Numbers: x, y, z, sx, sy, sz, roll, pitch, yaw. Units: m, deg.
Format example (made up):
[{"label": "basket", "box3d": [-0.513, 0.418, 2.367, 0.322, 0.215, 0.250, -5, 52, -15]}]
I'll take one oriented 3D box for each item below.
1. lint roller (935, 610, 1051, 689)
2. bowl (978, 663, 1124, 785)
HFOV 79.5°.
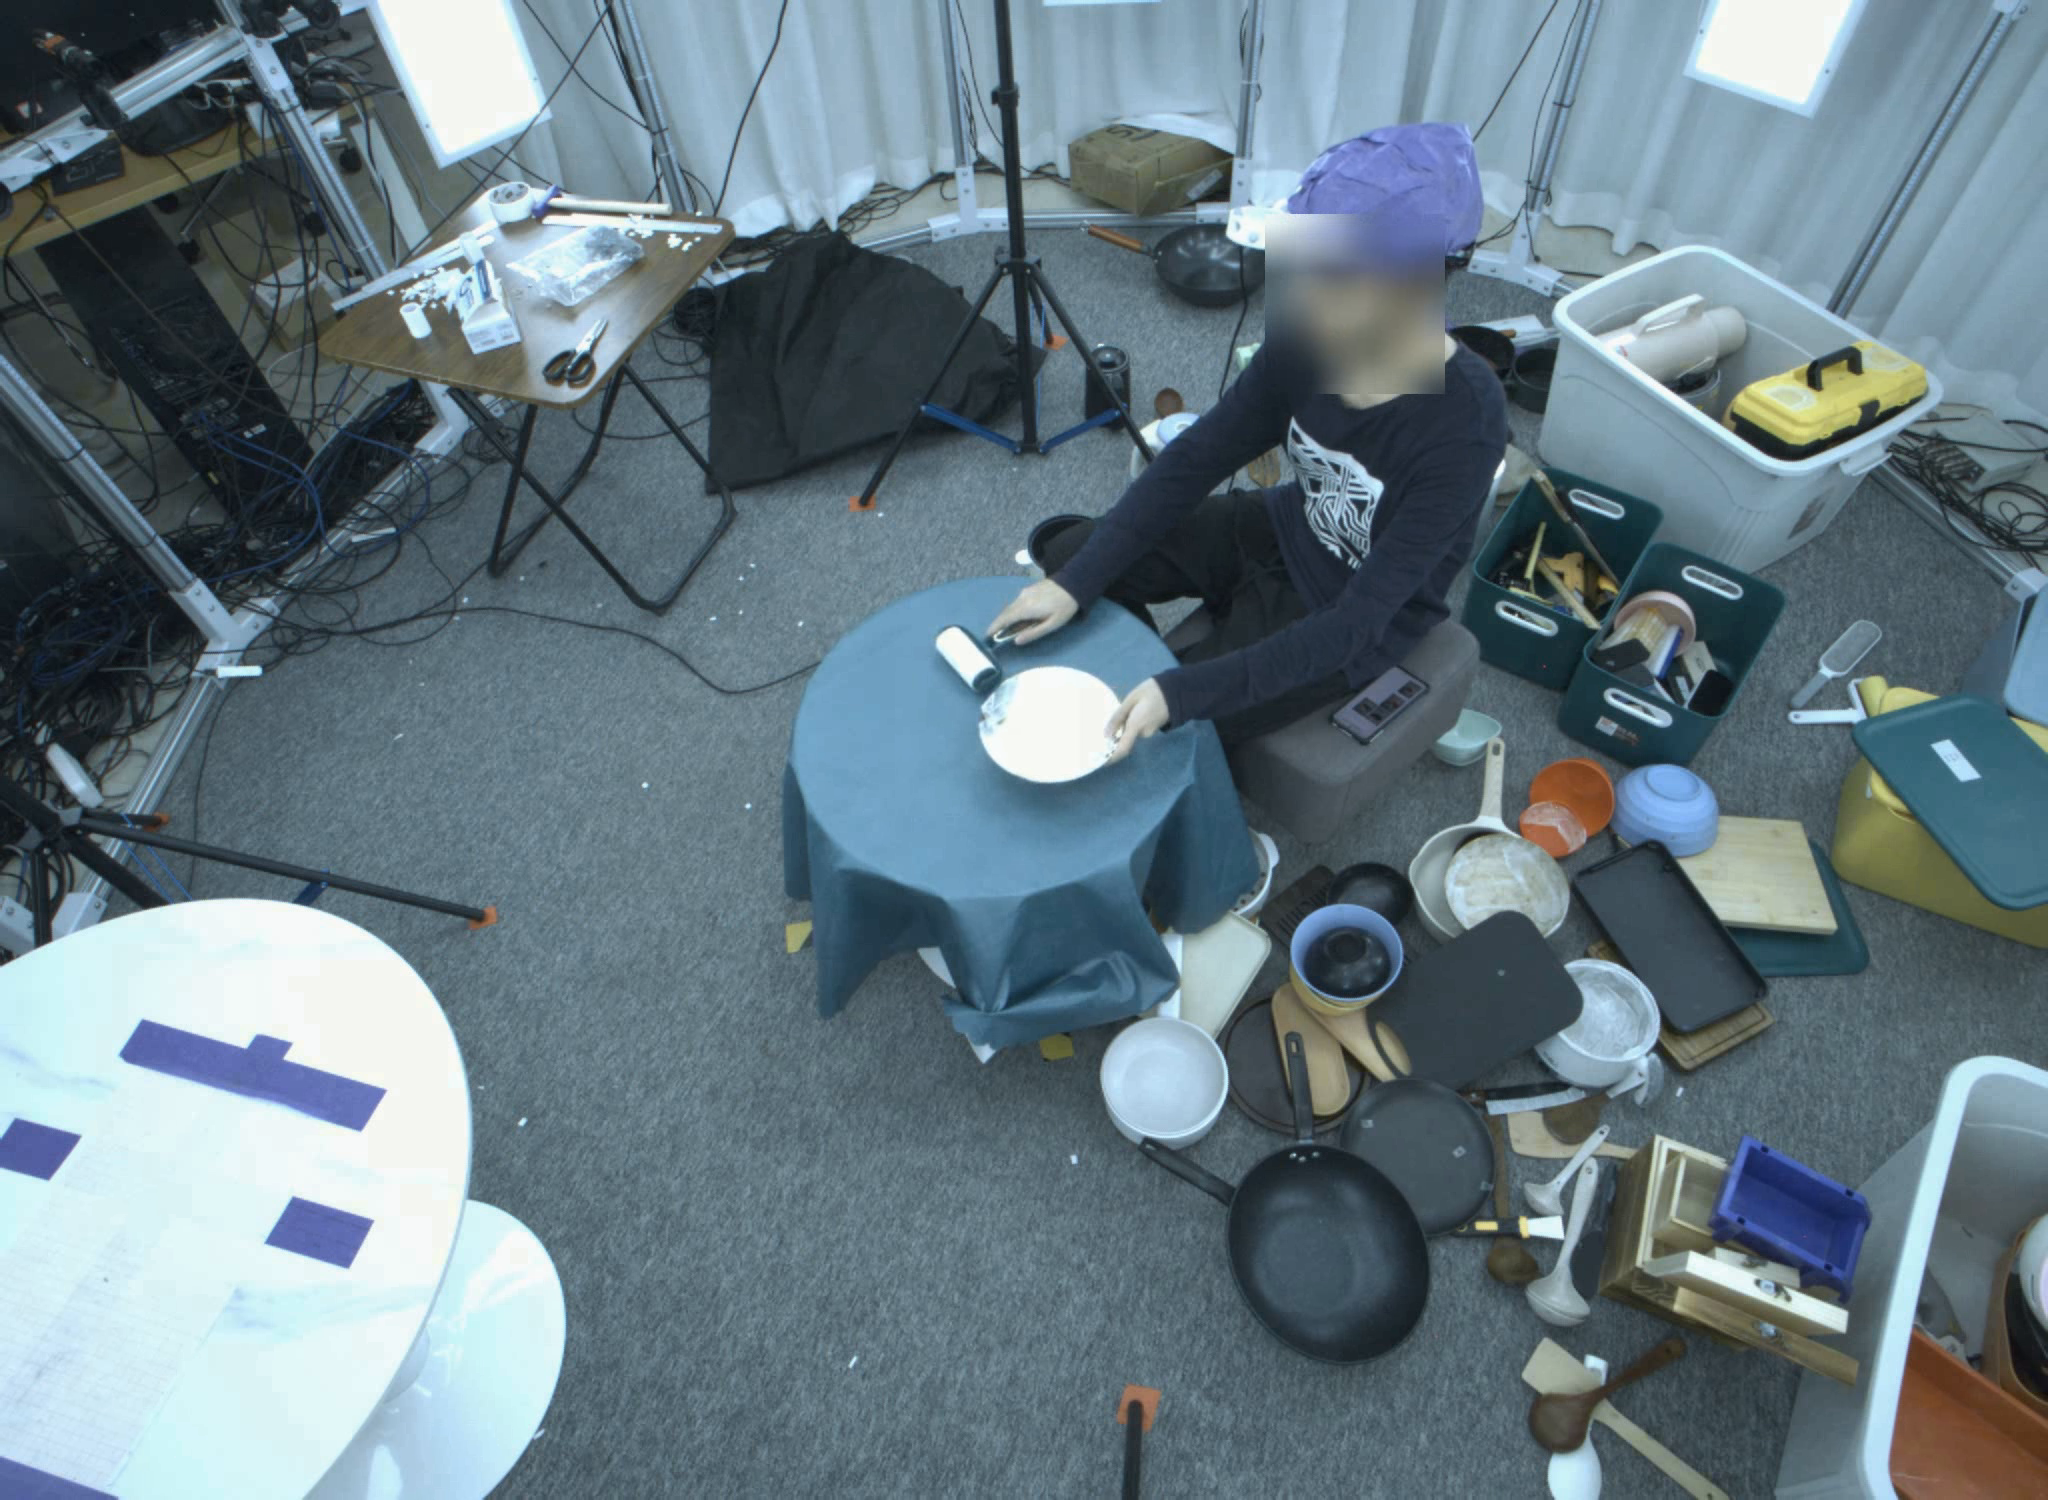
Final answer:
[{"label": "lint roller", "box3d": [-0.036, -0.177, 1.884, 0.181, 0.049, 0.132, -34, 60, -14]}, {"label": "bowl", "box3d": [0.038, -0.020, 1.752, 0.204, 0.078, 0.202, 1, 58, 0]}]
